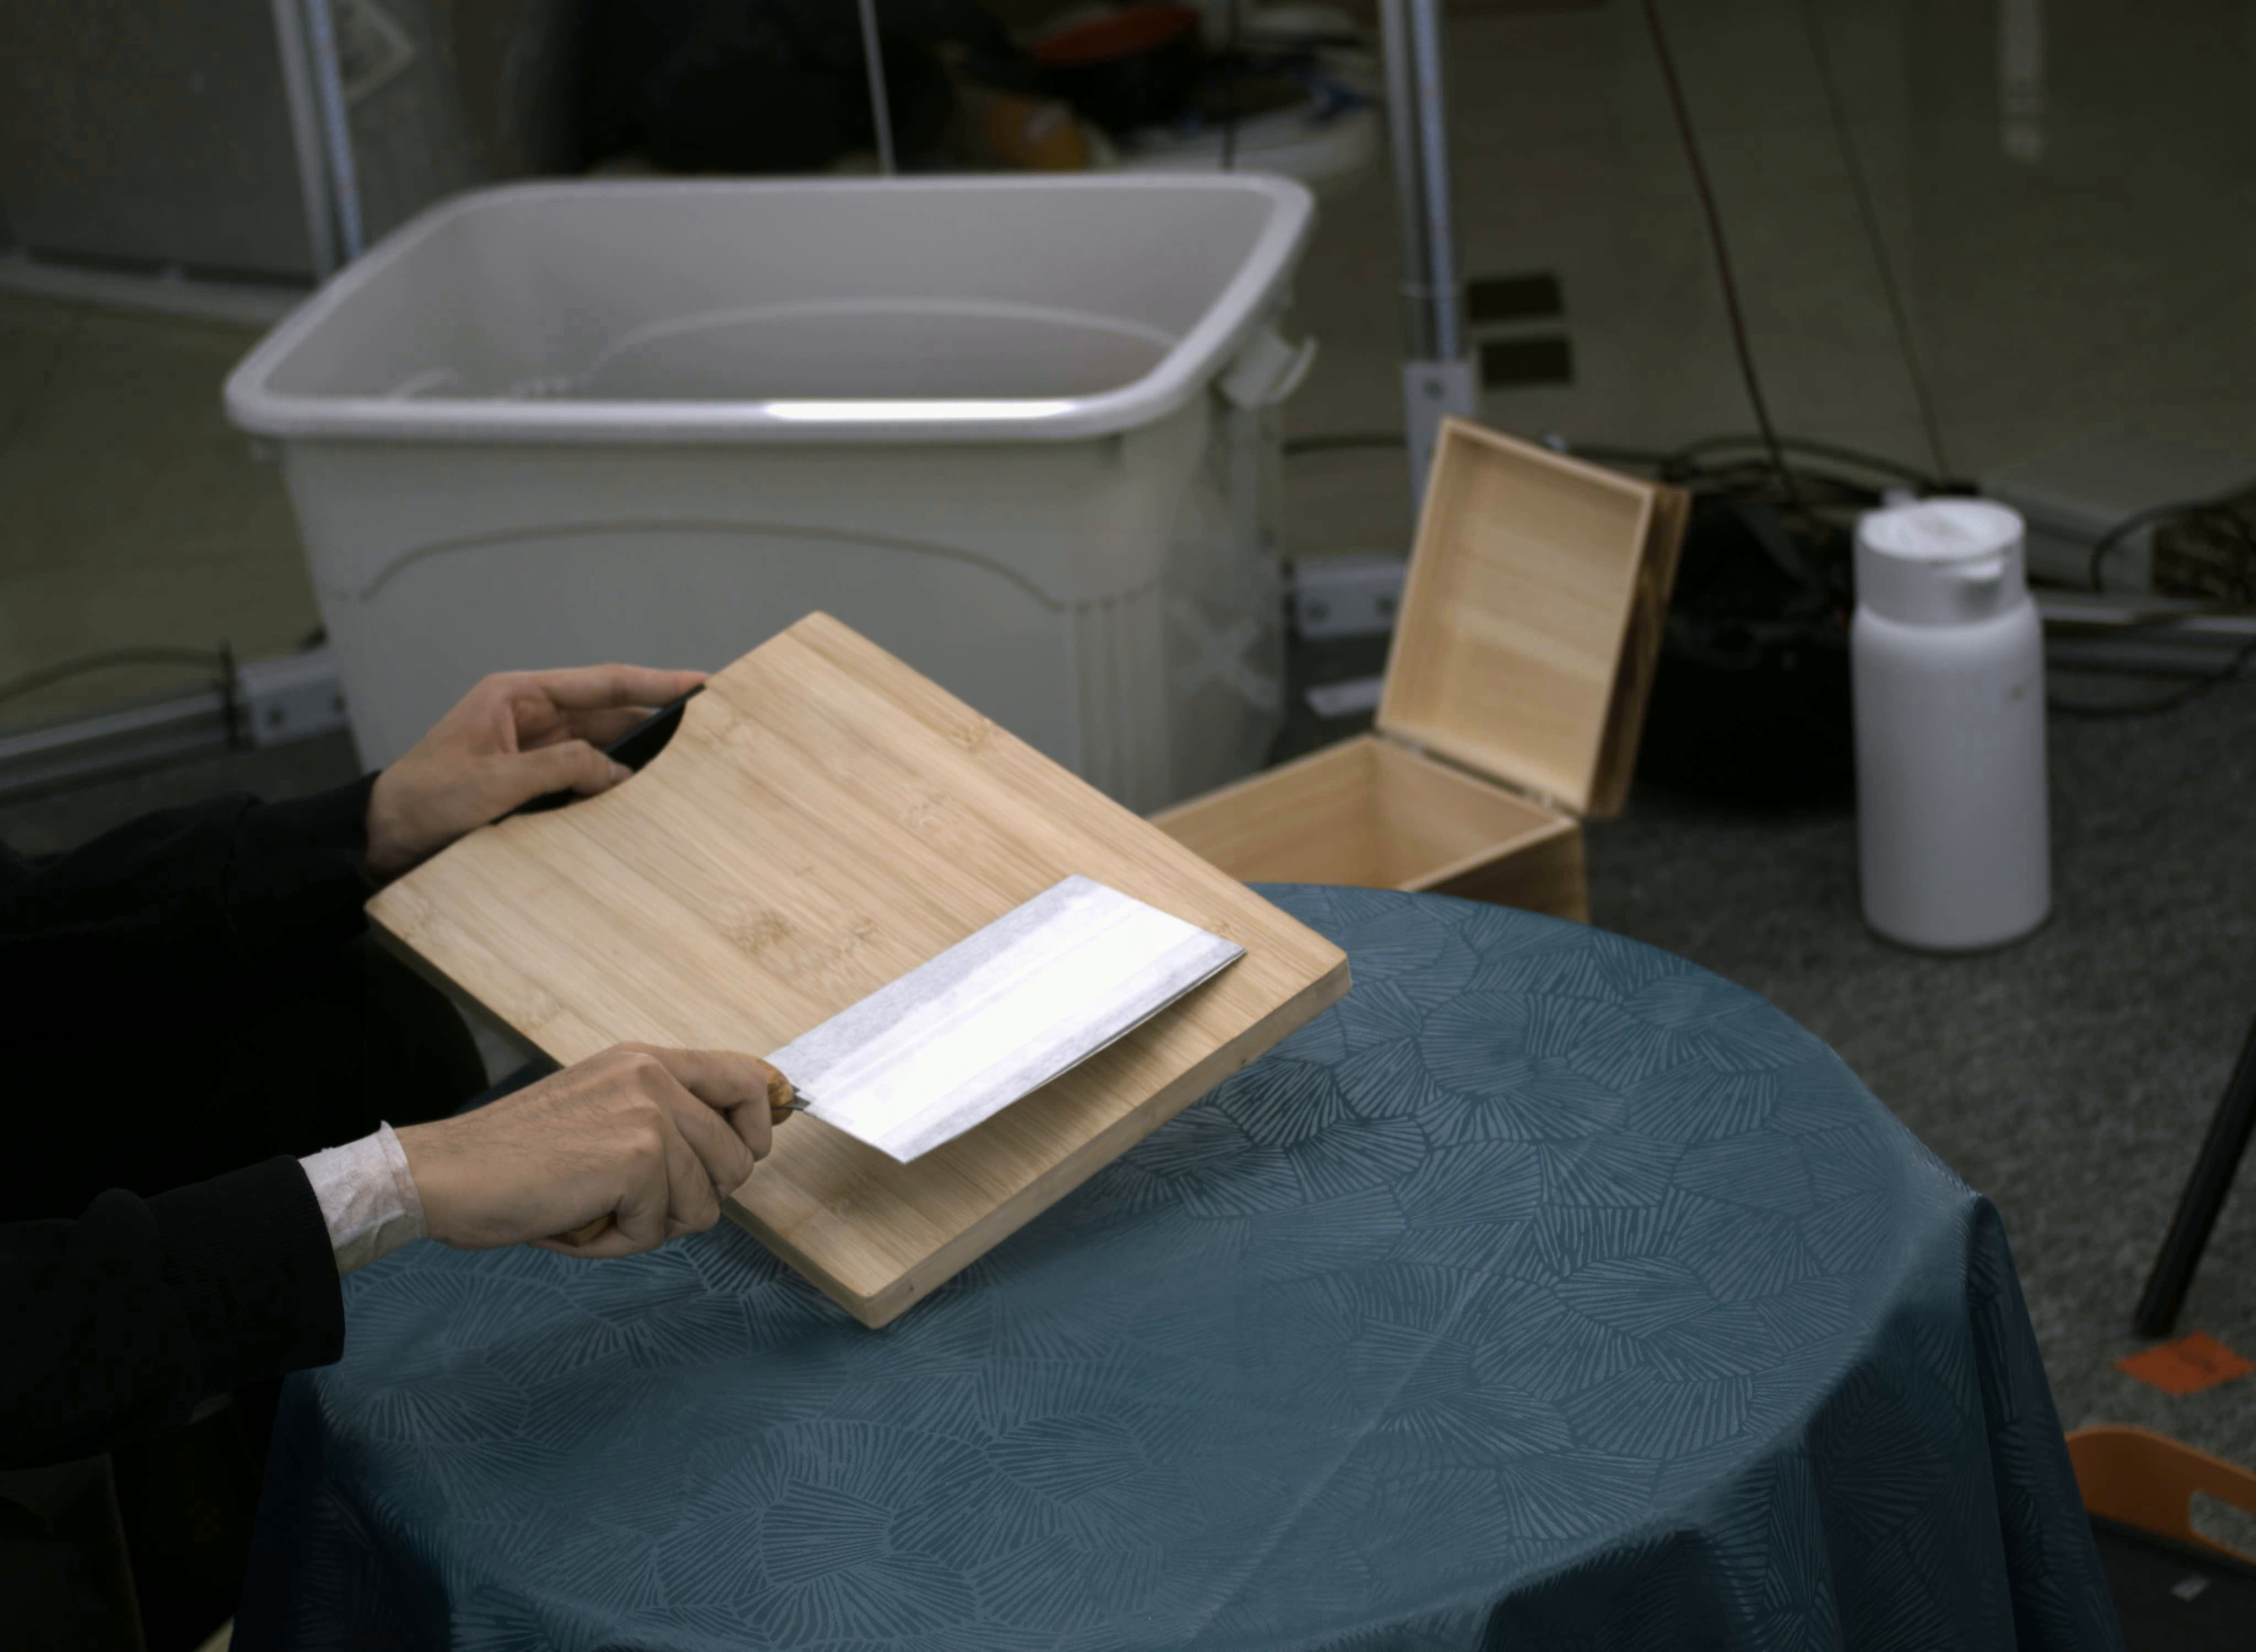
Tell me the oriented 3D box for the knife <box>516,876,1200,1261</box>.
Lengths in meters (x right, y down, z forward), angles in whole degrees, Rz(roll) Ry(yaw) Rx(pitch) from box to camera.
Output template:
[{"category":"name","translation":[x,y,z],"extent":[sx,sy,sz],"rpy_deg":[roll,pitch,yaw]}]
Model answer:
[{"category":"knife","translation":[-0.090,0.092,2.094],"extent":[0.092,0.021,0.303],"rpy_deg":[24,40,36]}]

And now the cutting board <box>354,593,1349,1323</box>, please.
[{"category":"cutting board","translation":[-0.113,0.044,2.224],"extent":[0.248,0.024,0.345],"rpy_deg":[-36,46,-24]}]
